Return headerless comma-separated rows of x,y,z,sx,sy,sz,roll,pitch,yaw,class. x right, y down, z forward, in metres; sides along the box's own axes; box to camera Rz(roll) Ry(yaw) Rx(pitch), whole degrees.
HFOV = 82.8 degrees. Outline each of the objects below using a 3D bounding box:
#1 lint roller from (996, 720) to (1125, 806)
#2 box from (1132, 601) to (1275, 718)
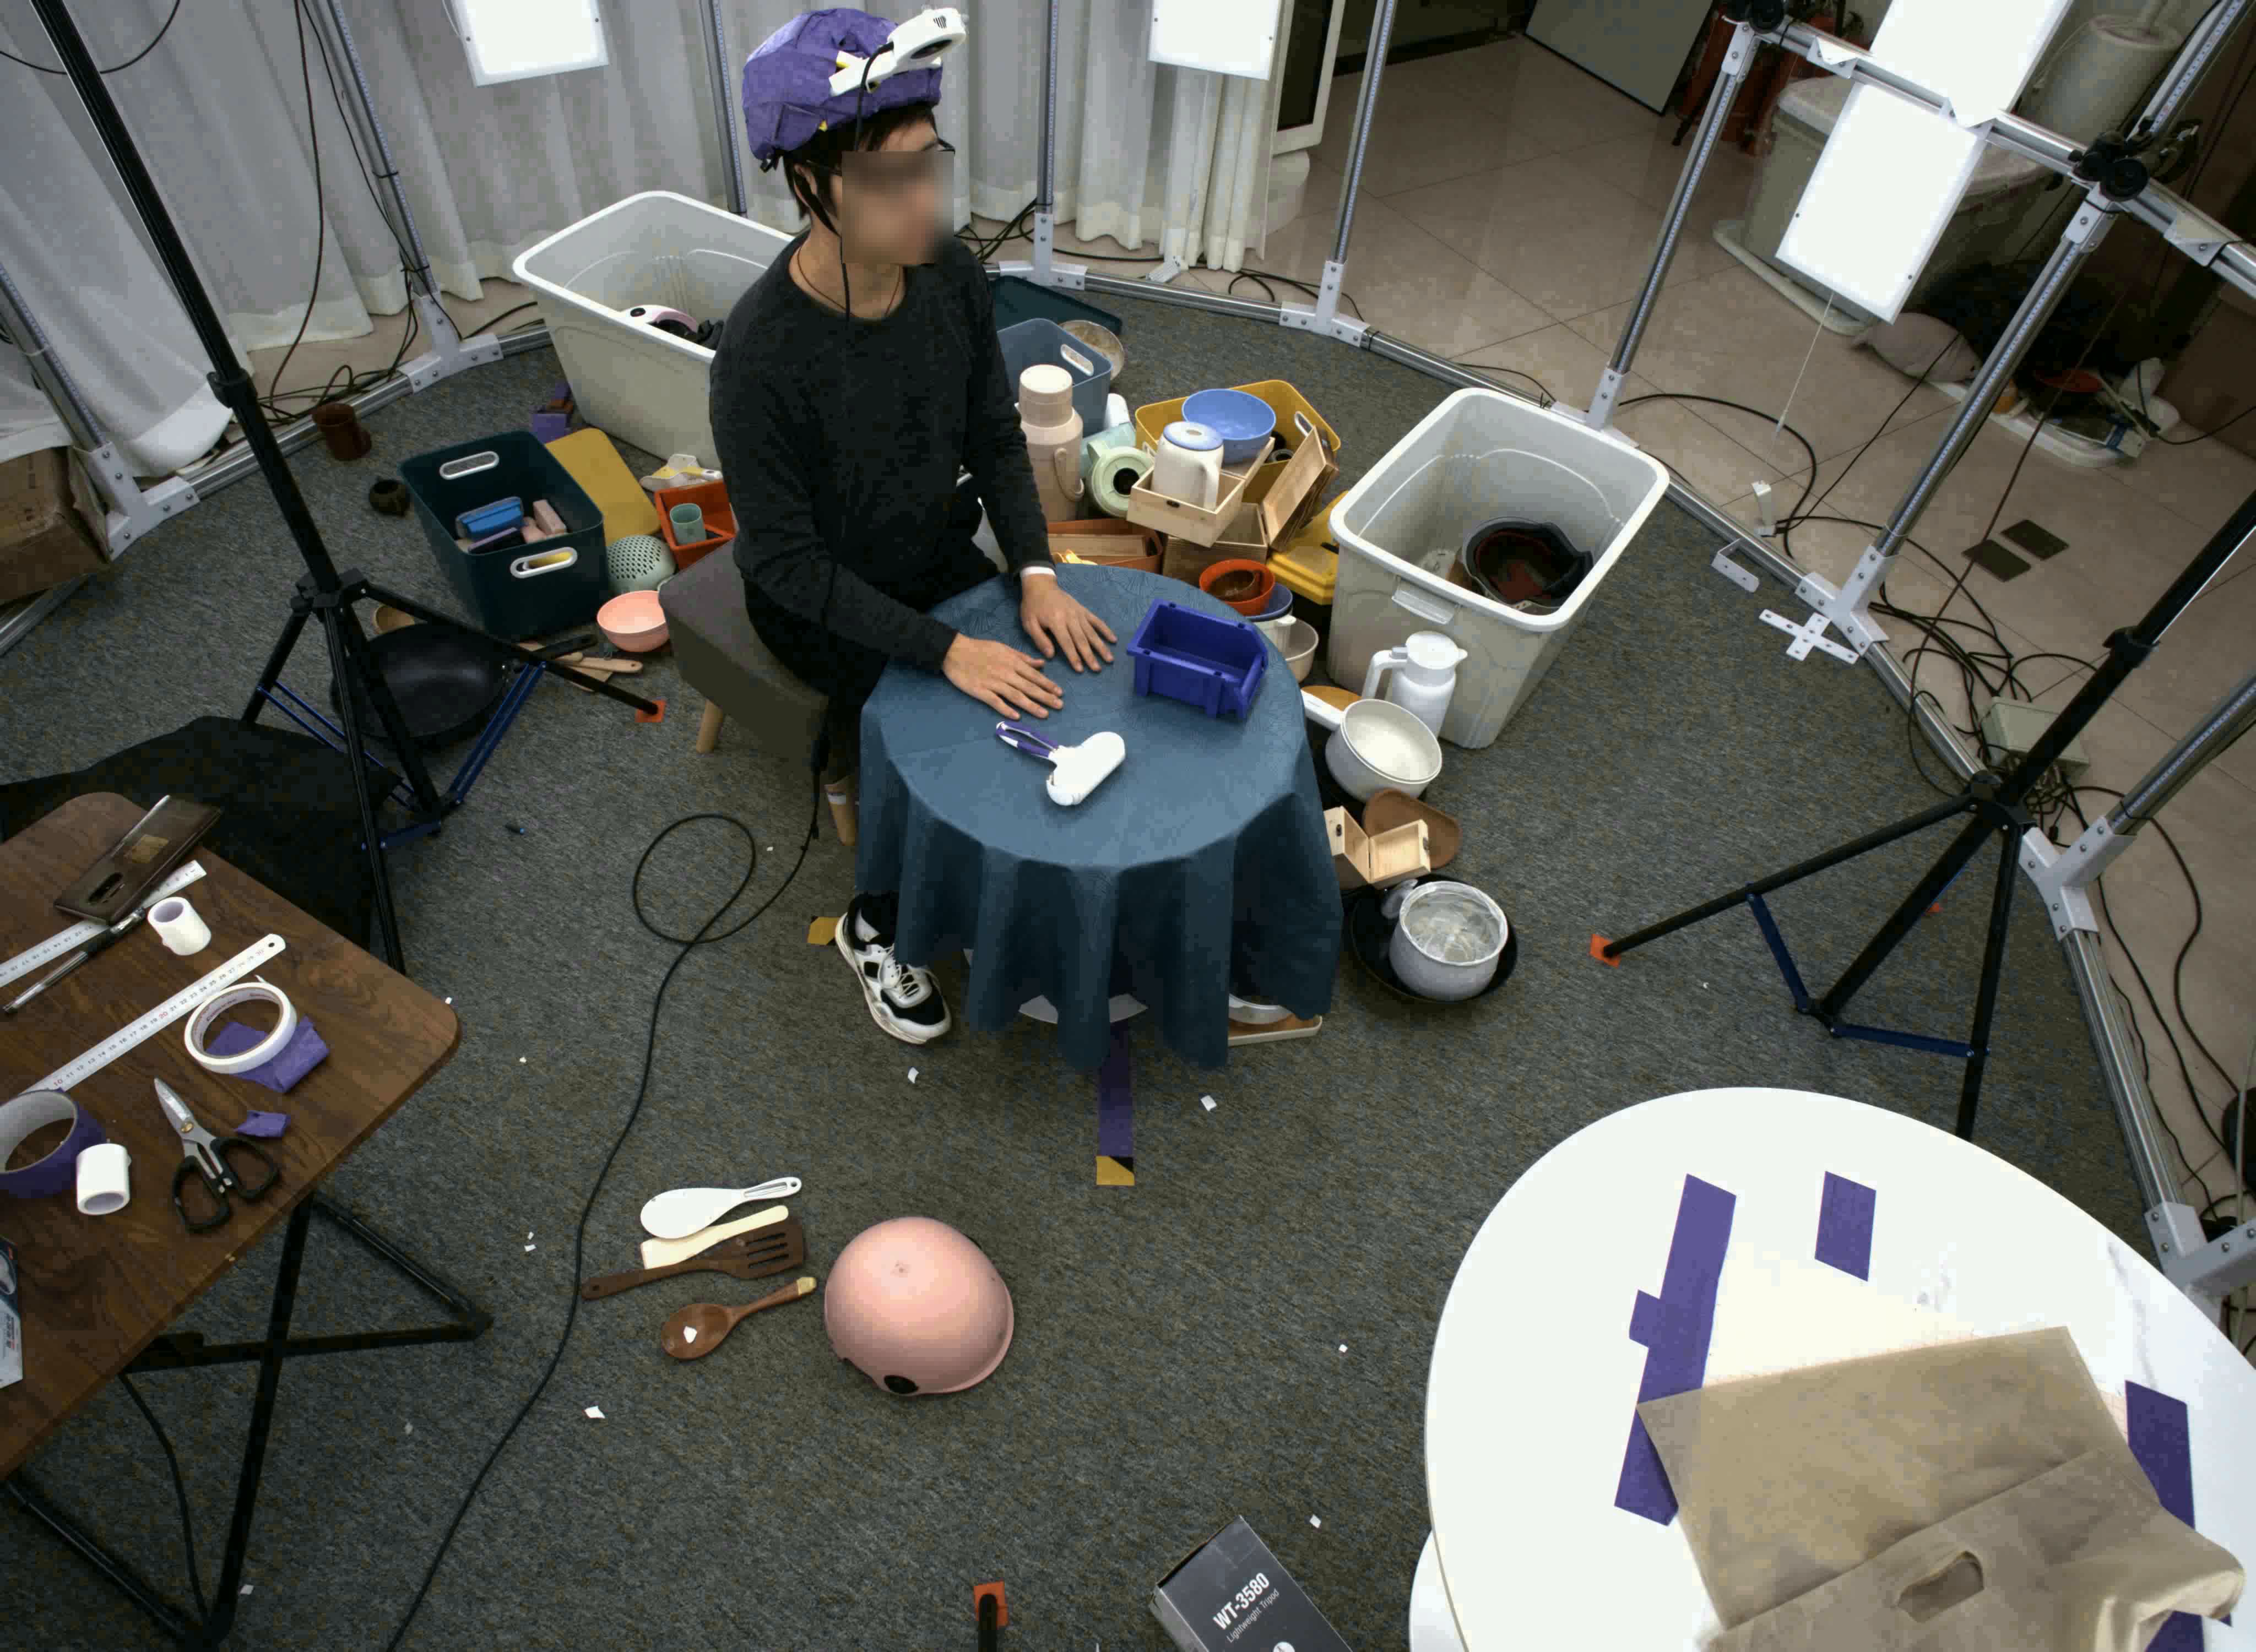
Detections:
-0.104,-0.109,1.727,0.183,0.049,0.134,33,56,20,lint roller
0.110,-0.234,1.828,0.180,0.080,0.127,17,50,14,box
